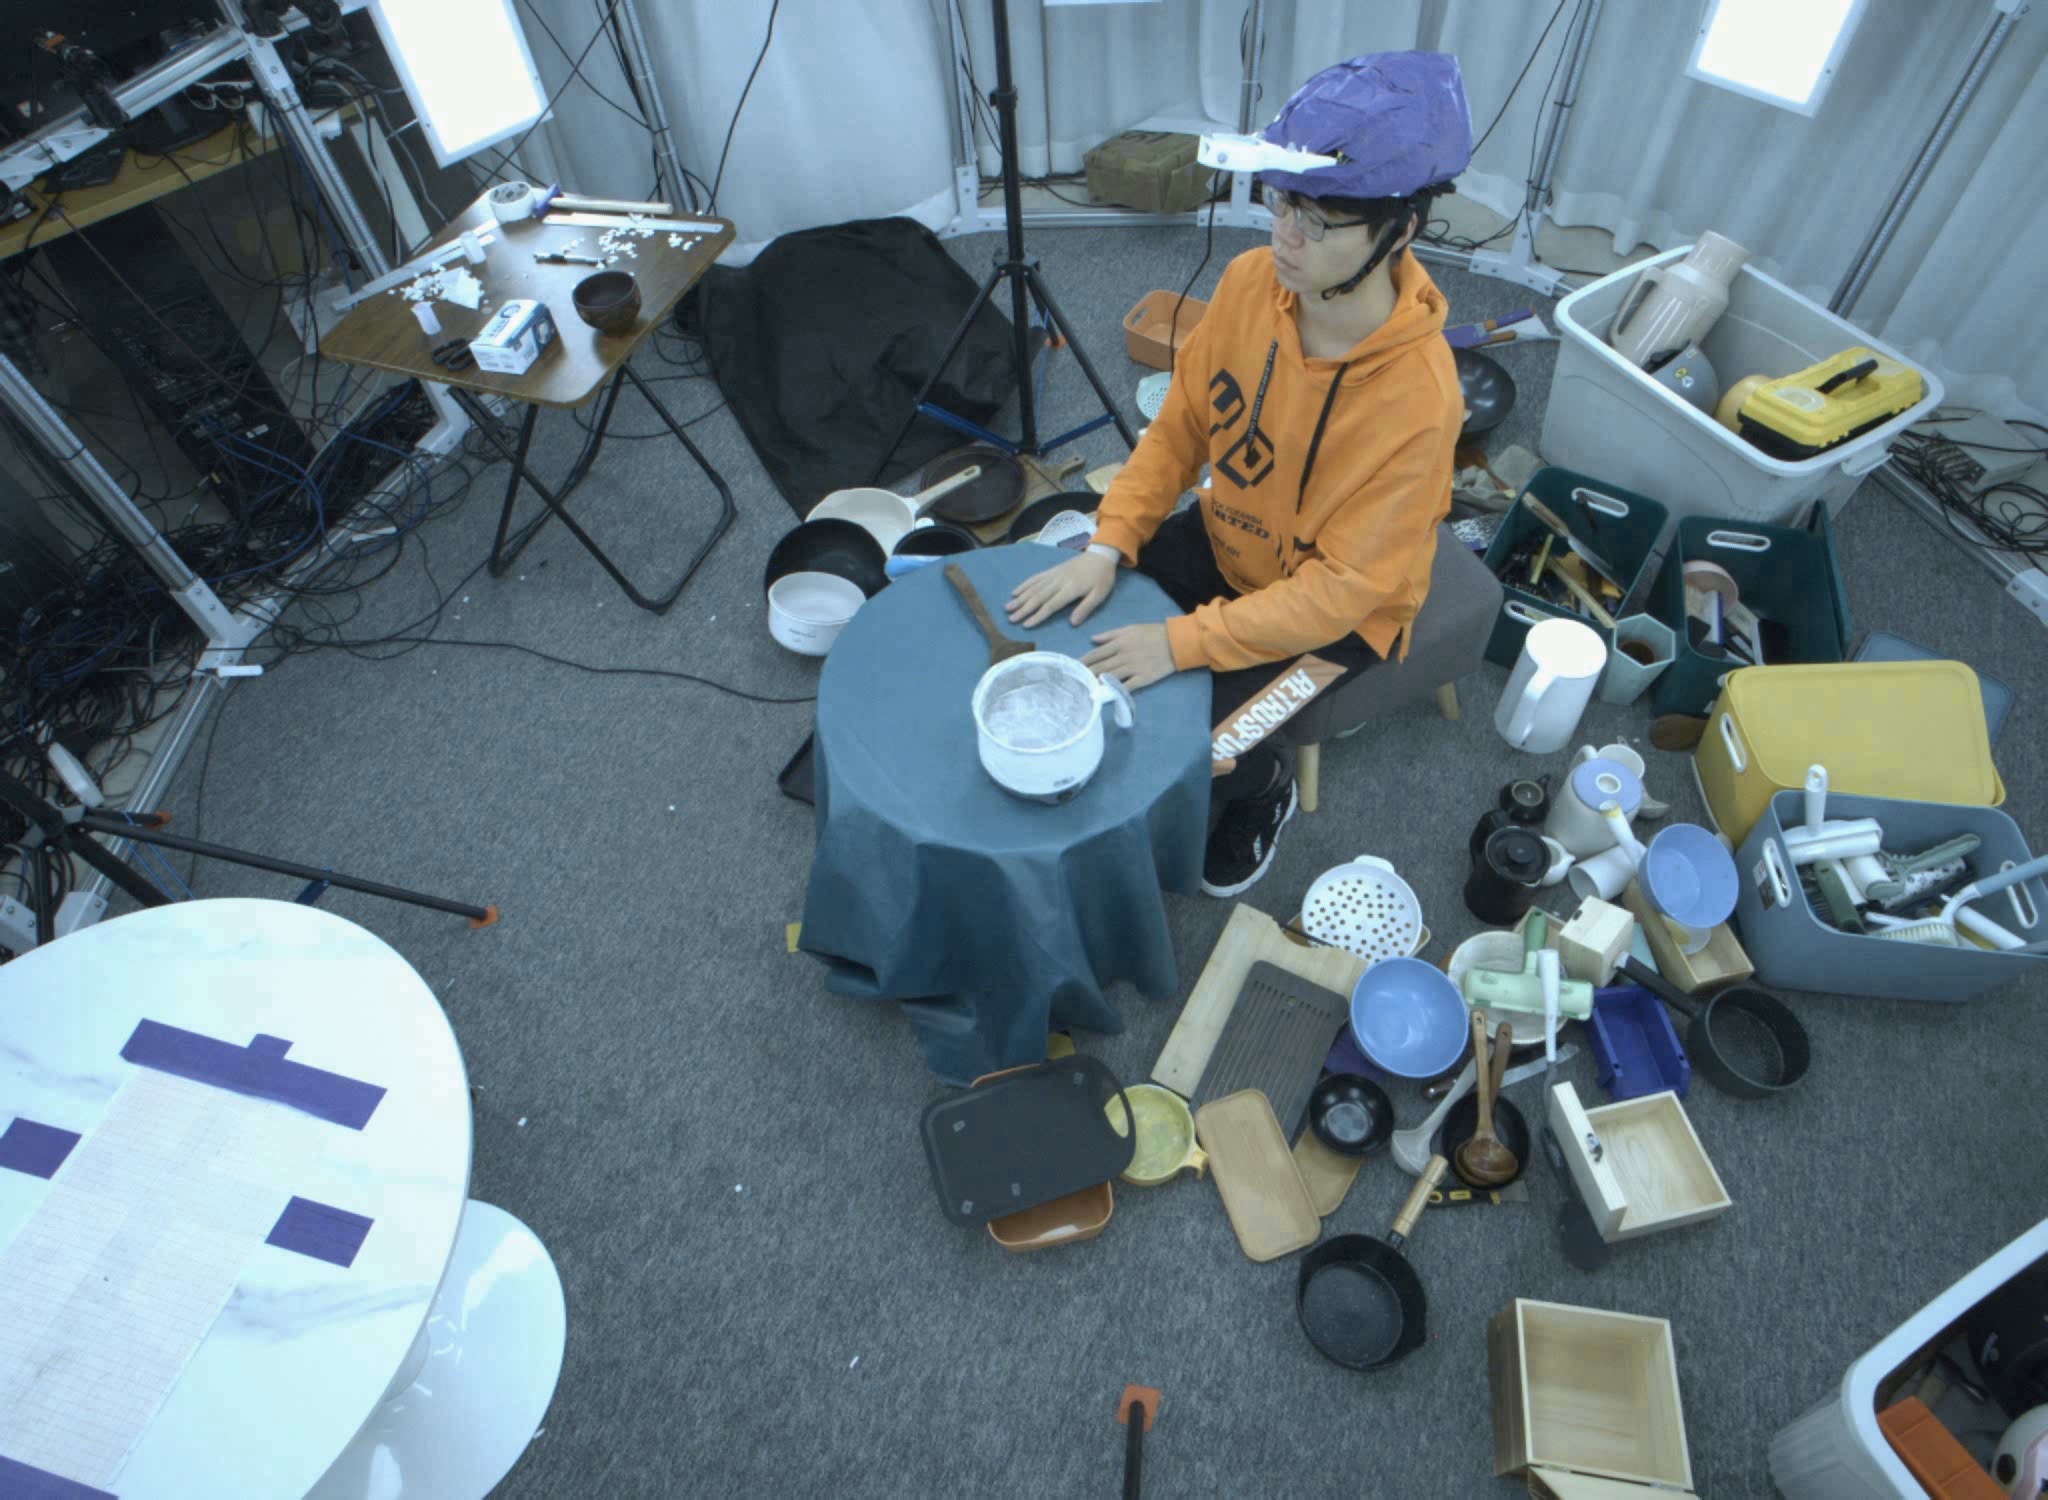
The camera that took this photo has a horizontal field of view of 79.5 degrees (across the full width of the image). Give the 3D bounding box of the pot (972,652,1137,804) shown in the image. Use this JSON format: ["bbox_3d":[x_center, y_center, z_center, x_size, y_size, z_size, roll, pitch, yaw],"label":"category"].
[{"bbox_3d":[0.047,-0.039,1.728,0.235,0.138,0.175,-21,57,-11],"label":"pot"}]

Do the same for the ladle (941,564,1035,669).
[{"bbox_3d":[-0.067,-0.222,1.904,0.076,0.072,0.269,-23,58,-15],"label":"ladle"}]
